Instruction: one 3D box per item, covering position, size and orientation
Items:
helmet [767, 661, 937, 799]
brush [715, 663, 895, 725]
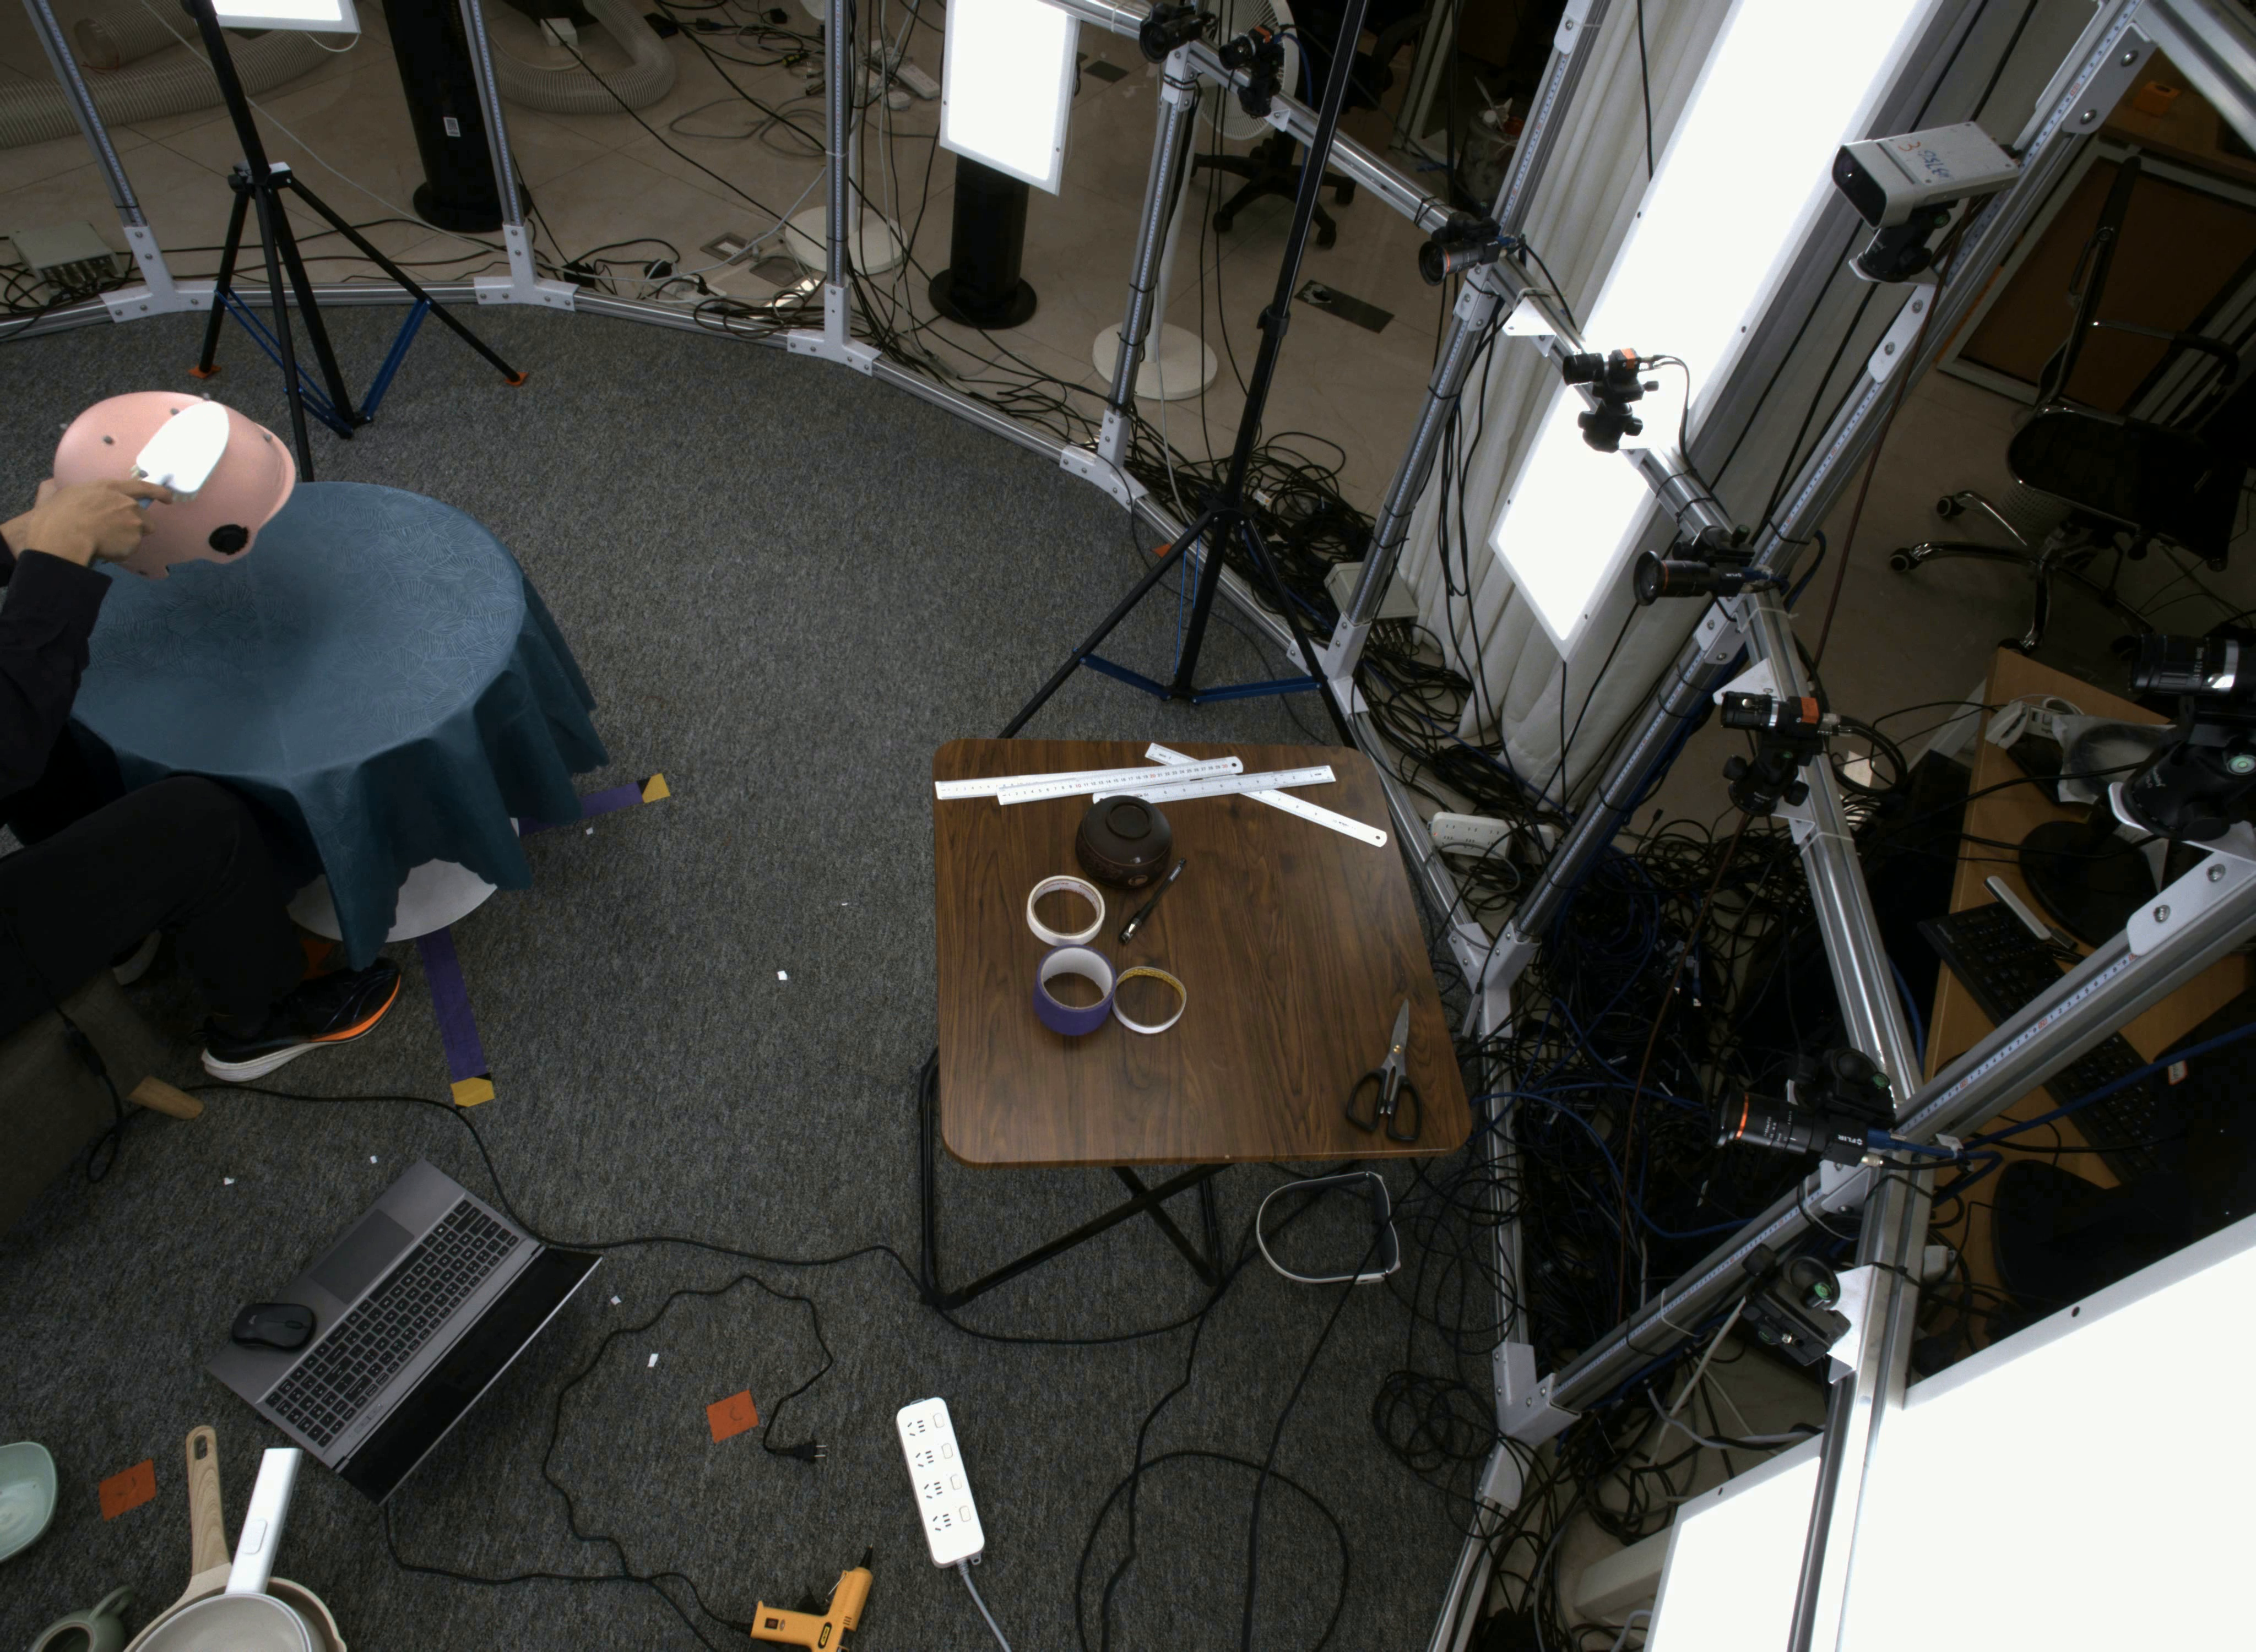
[{"bbox_3d":[-0.441,-0.167,2.020,0.263,0.164,0.228,-6,38,0],"label":"helmet"},{"bbox_3d":[-0.465,-0.177,1.843,0.080,0.087,0.328,16,23,32],"label":"brush"}]
